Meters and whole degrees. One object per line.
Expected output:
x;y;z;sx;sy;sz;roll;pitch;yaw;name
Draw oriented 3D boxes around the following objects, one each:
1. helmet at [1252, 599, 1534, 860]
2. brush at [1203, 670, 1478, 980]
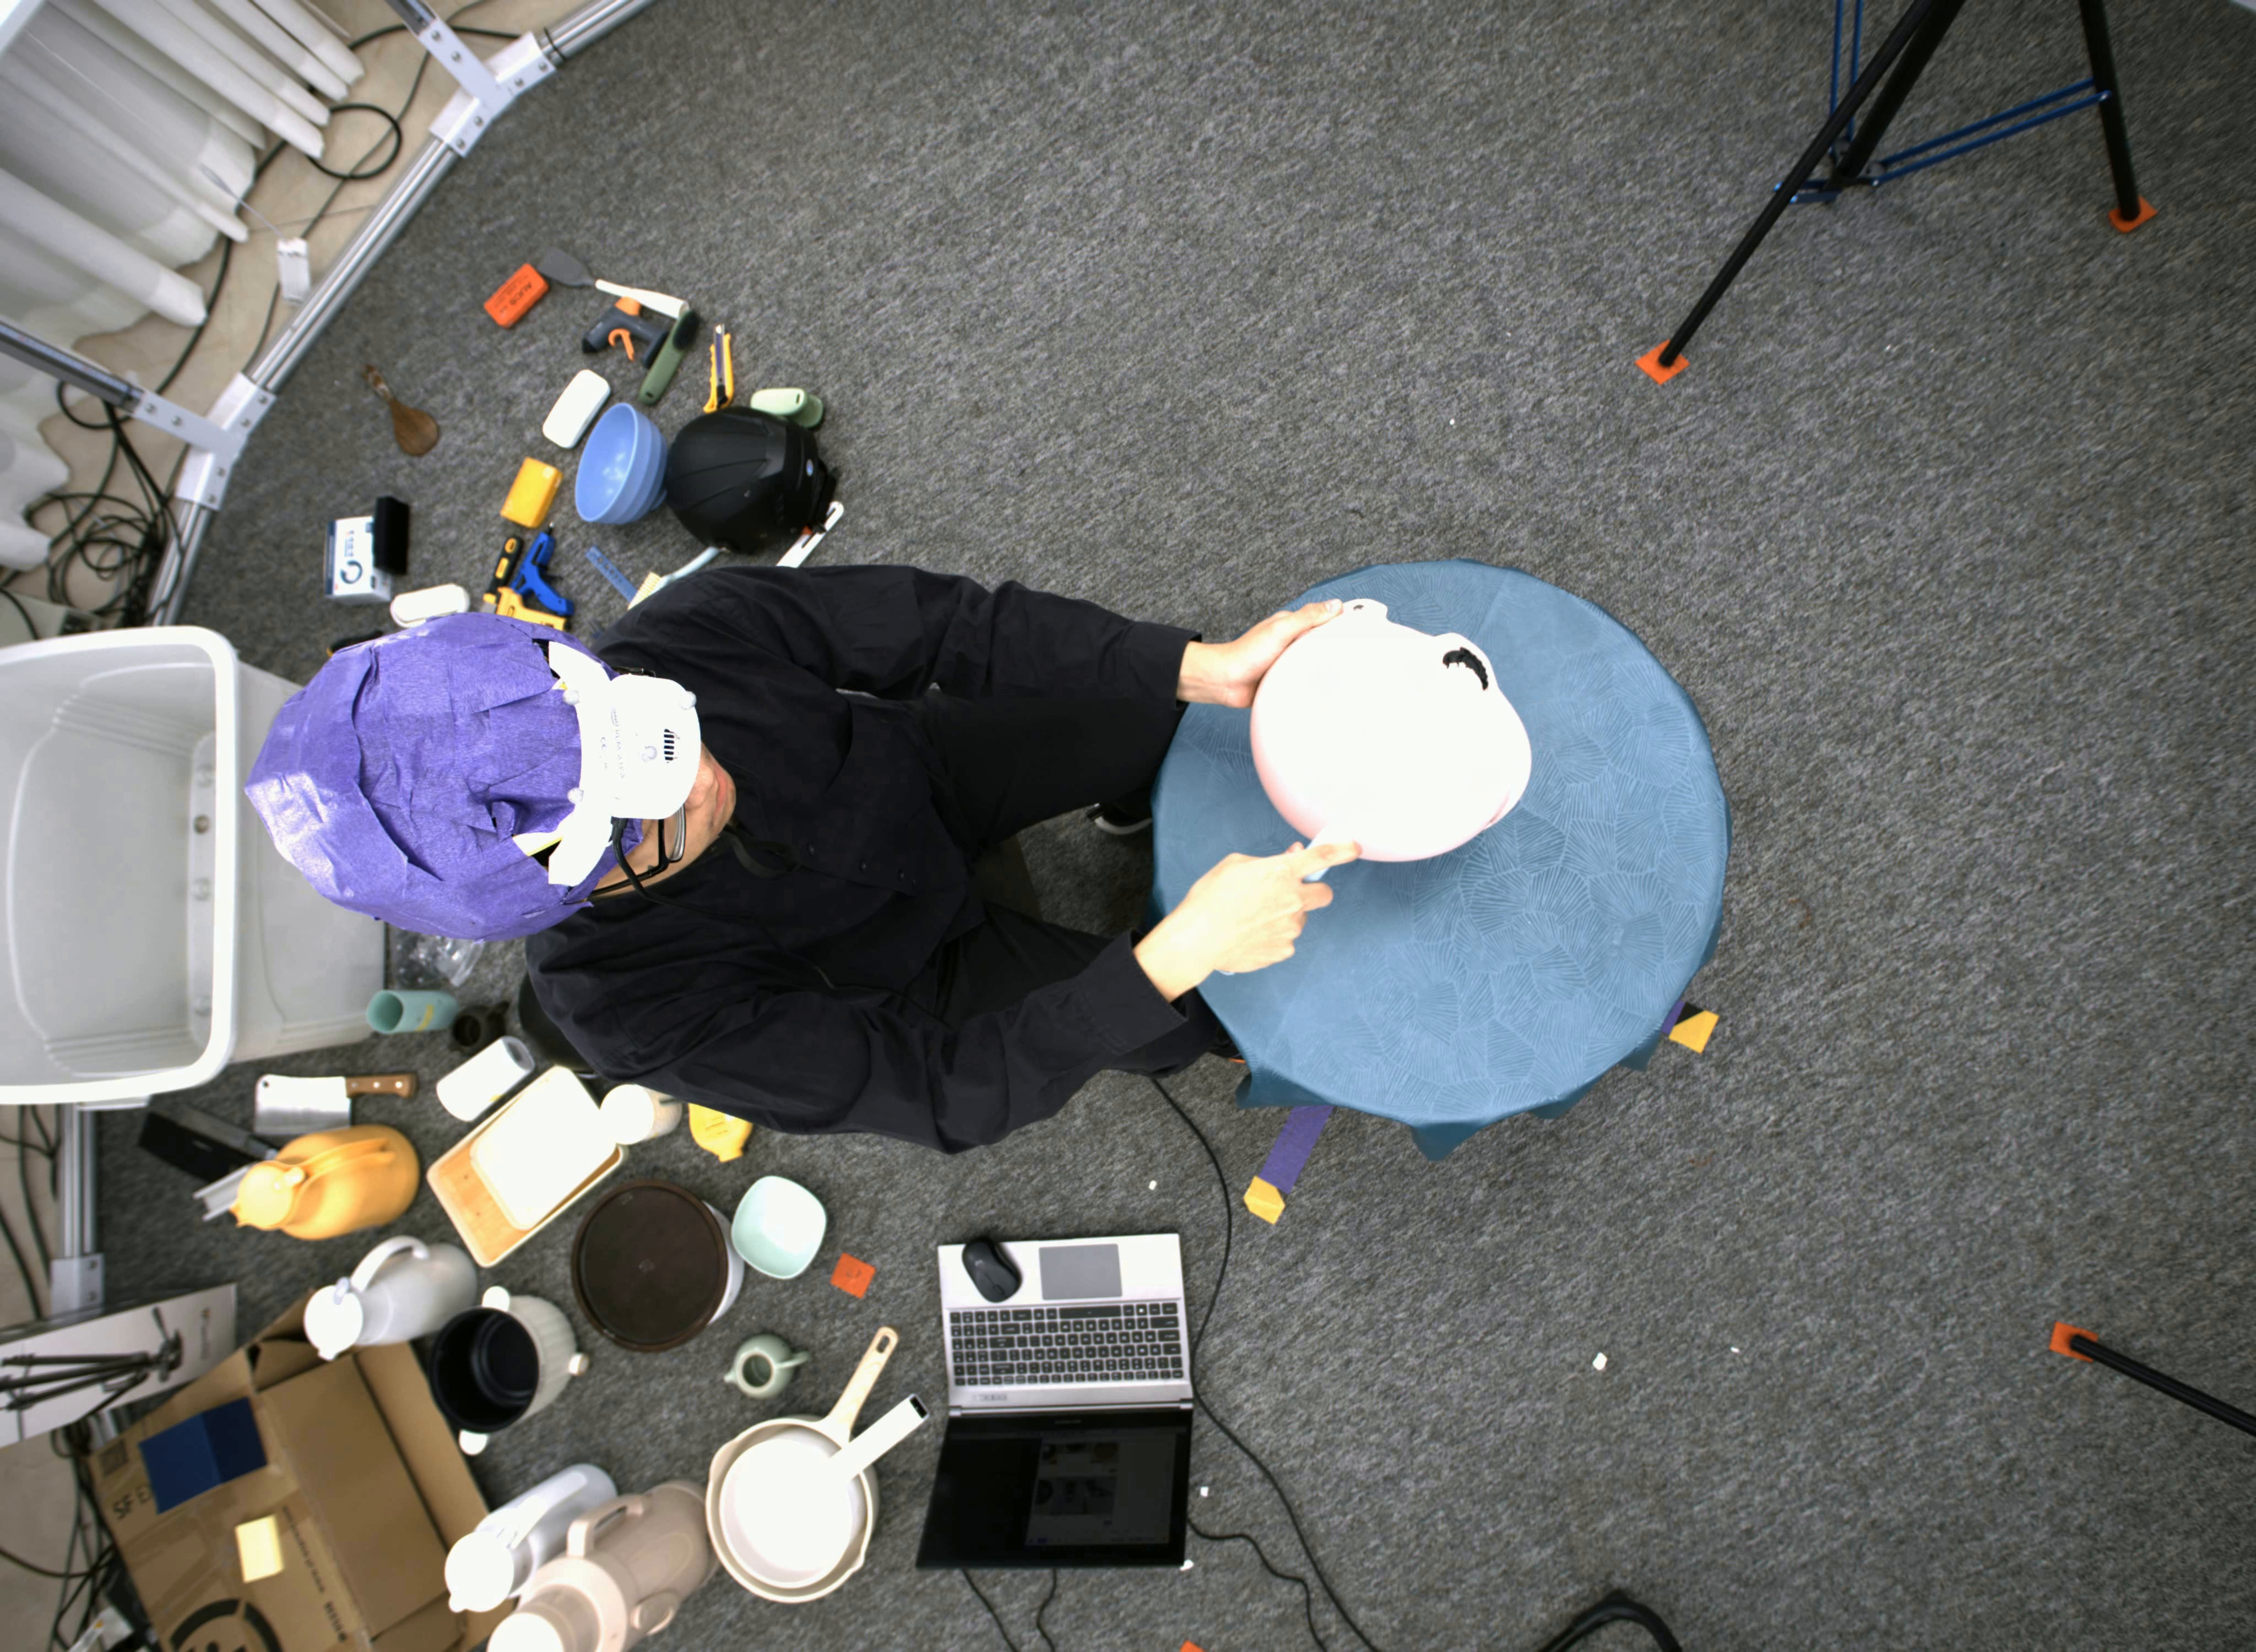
0.227;-0.064;1.256;0.265;0.155;0.240;31;134;6;helmet
0.171;-0.004;1.150;0.327;0.085;0.082;-49;53;6;brush
